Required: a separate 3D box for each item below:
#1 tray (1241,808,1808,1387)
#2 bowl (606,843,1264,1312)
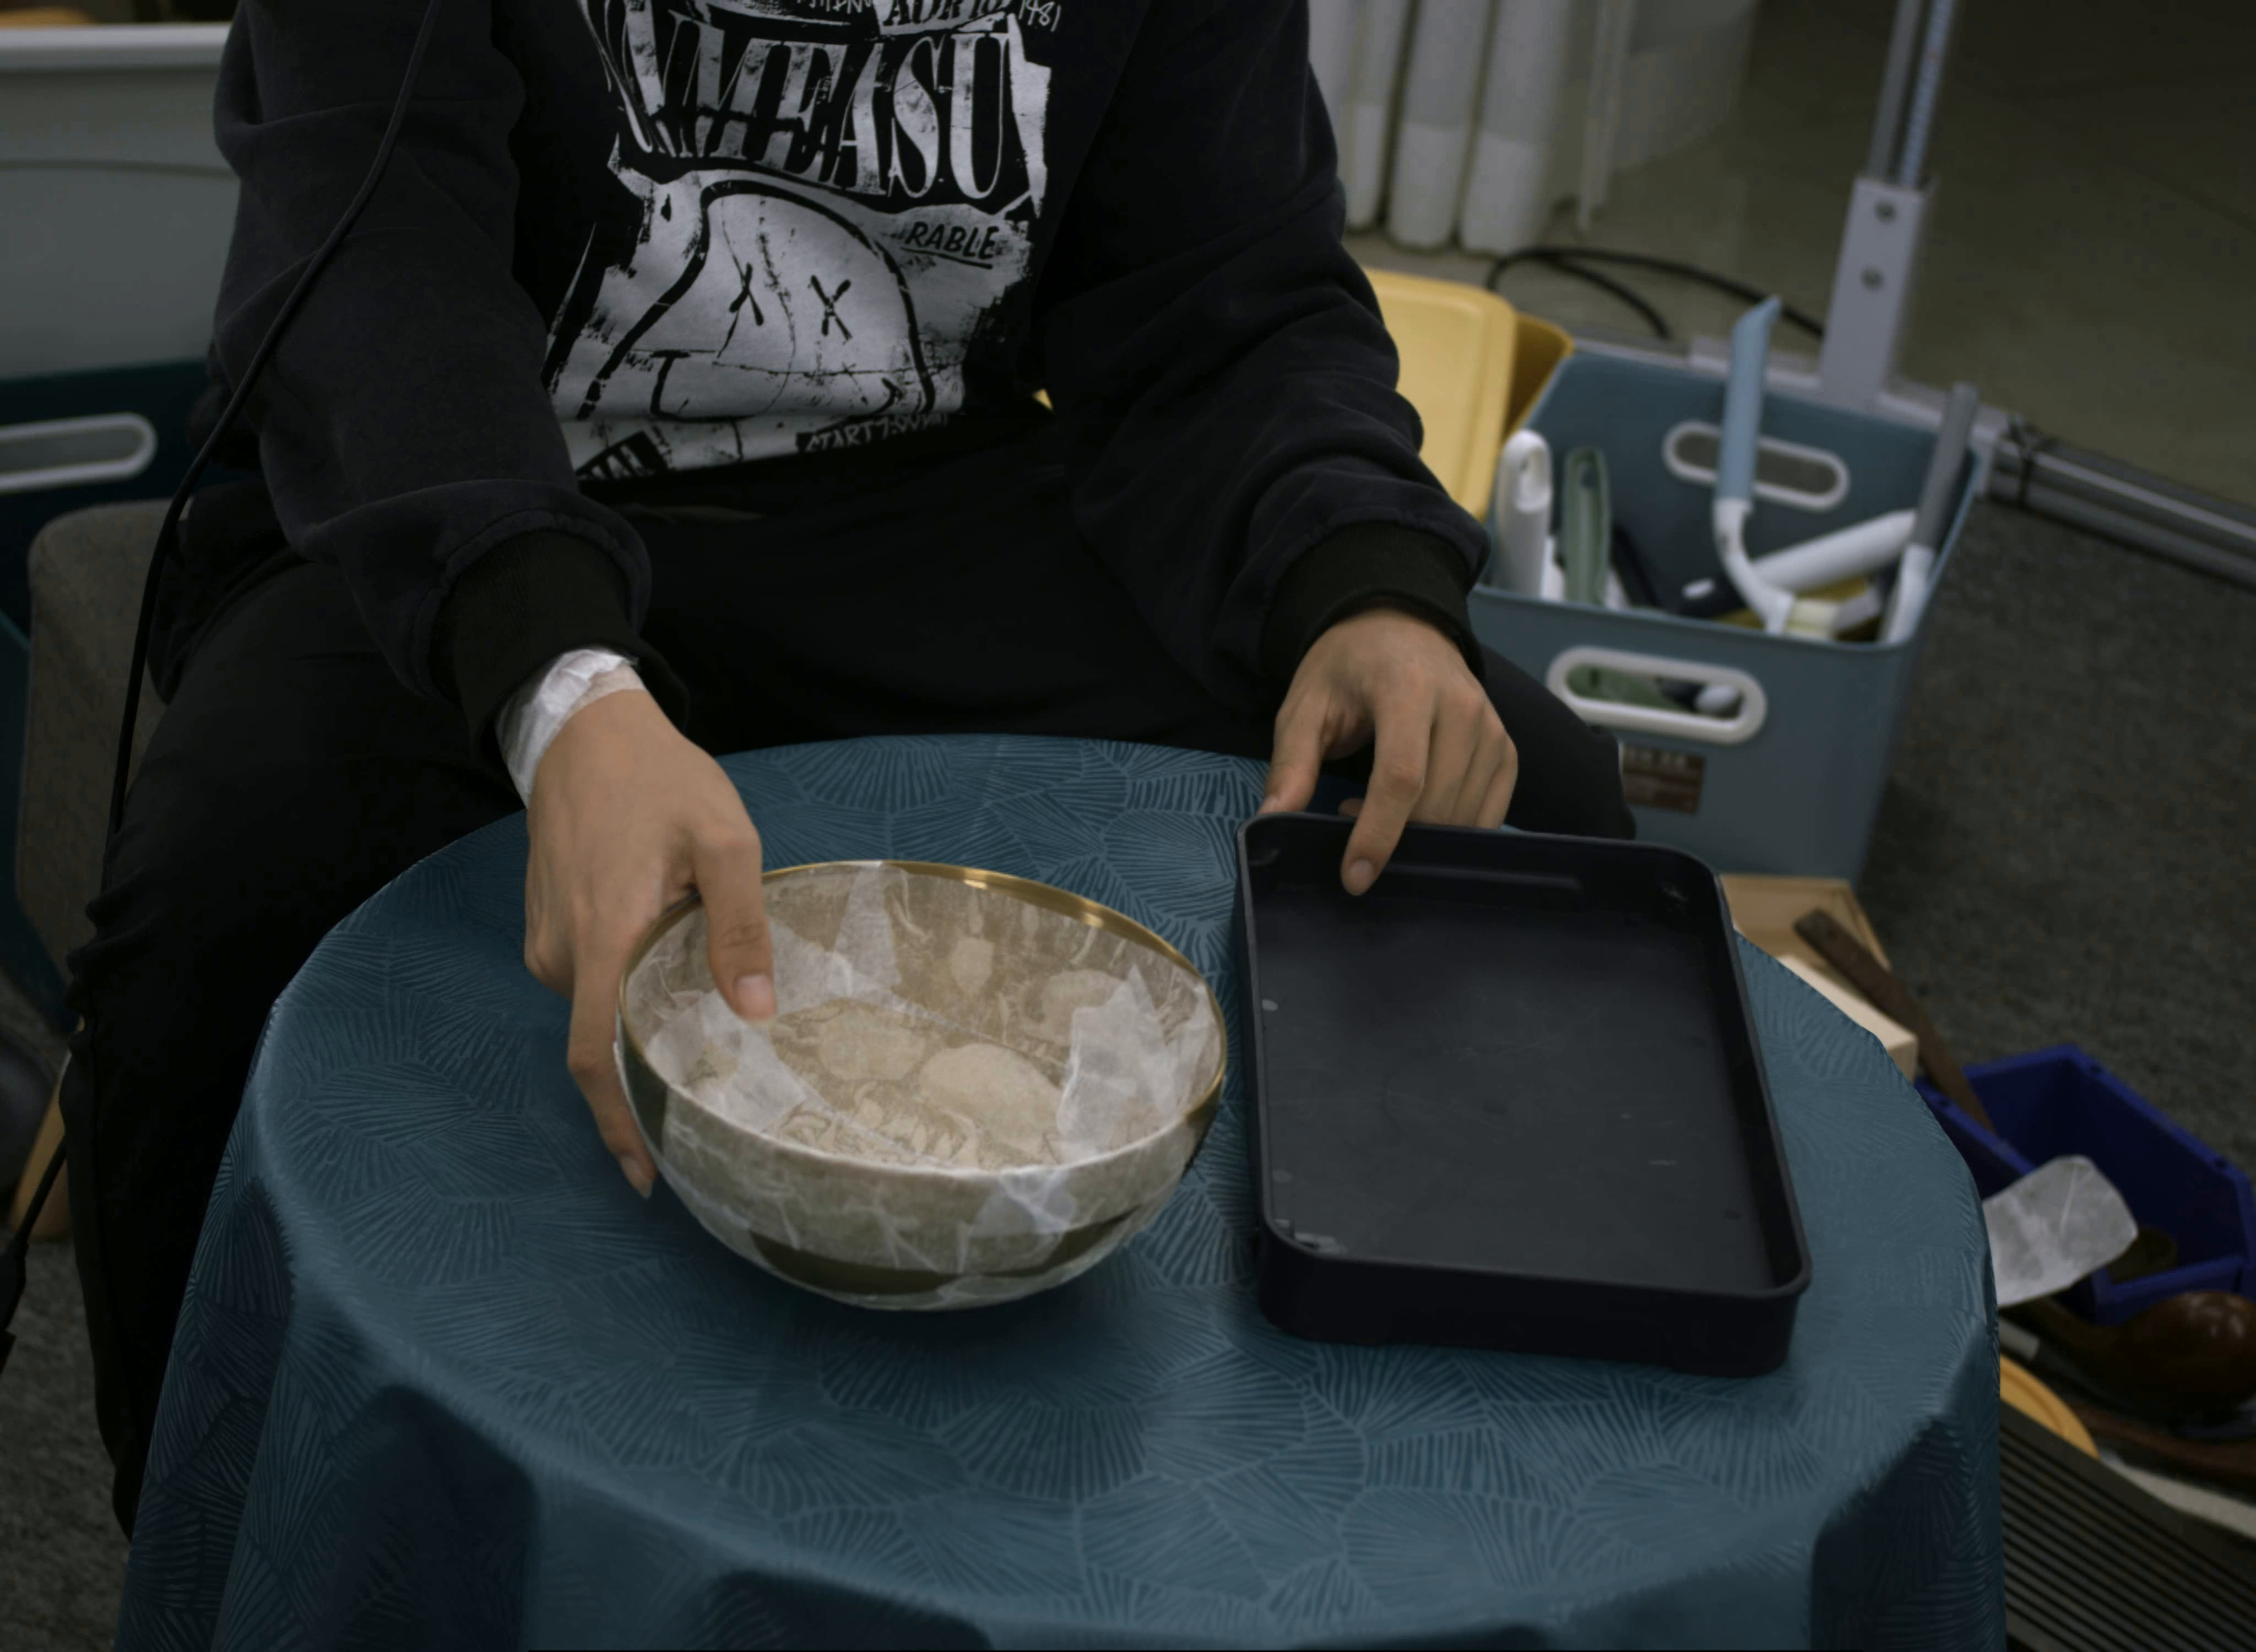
[{"bbox_3d":[0.131,0.089,1.861,0.184,0.037,0.320,6,28,-2],"label":"tray"},{"bbox_3d":[-0.068,0.095,1.738,0.214,0.094,0.216,5,28,-3],"label":"bowl"}]
